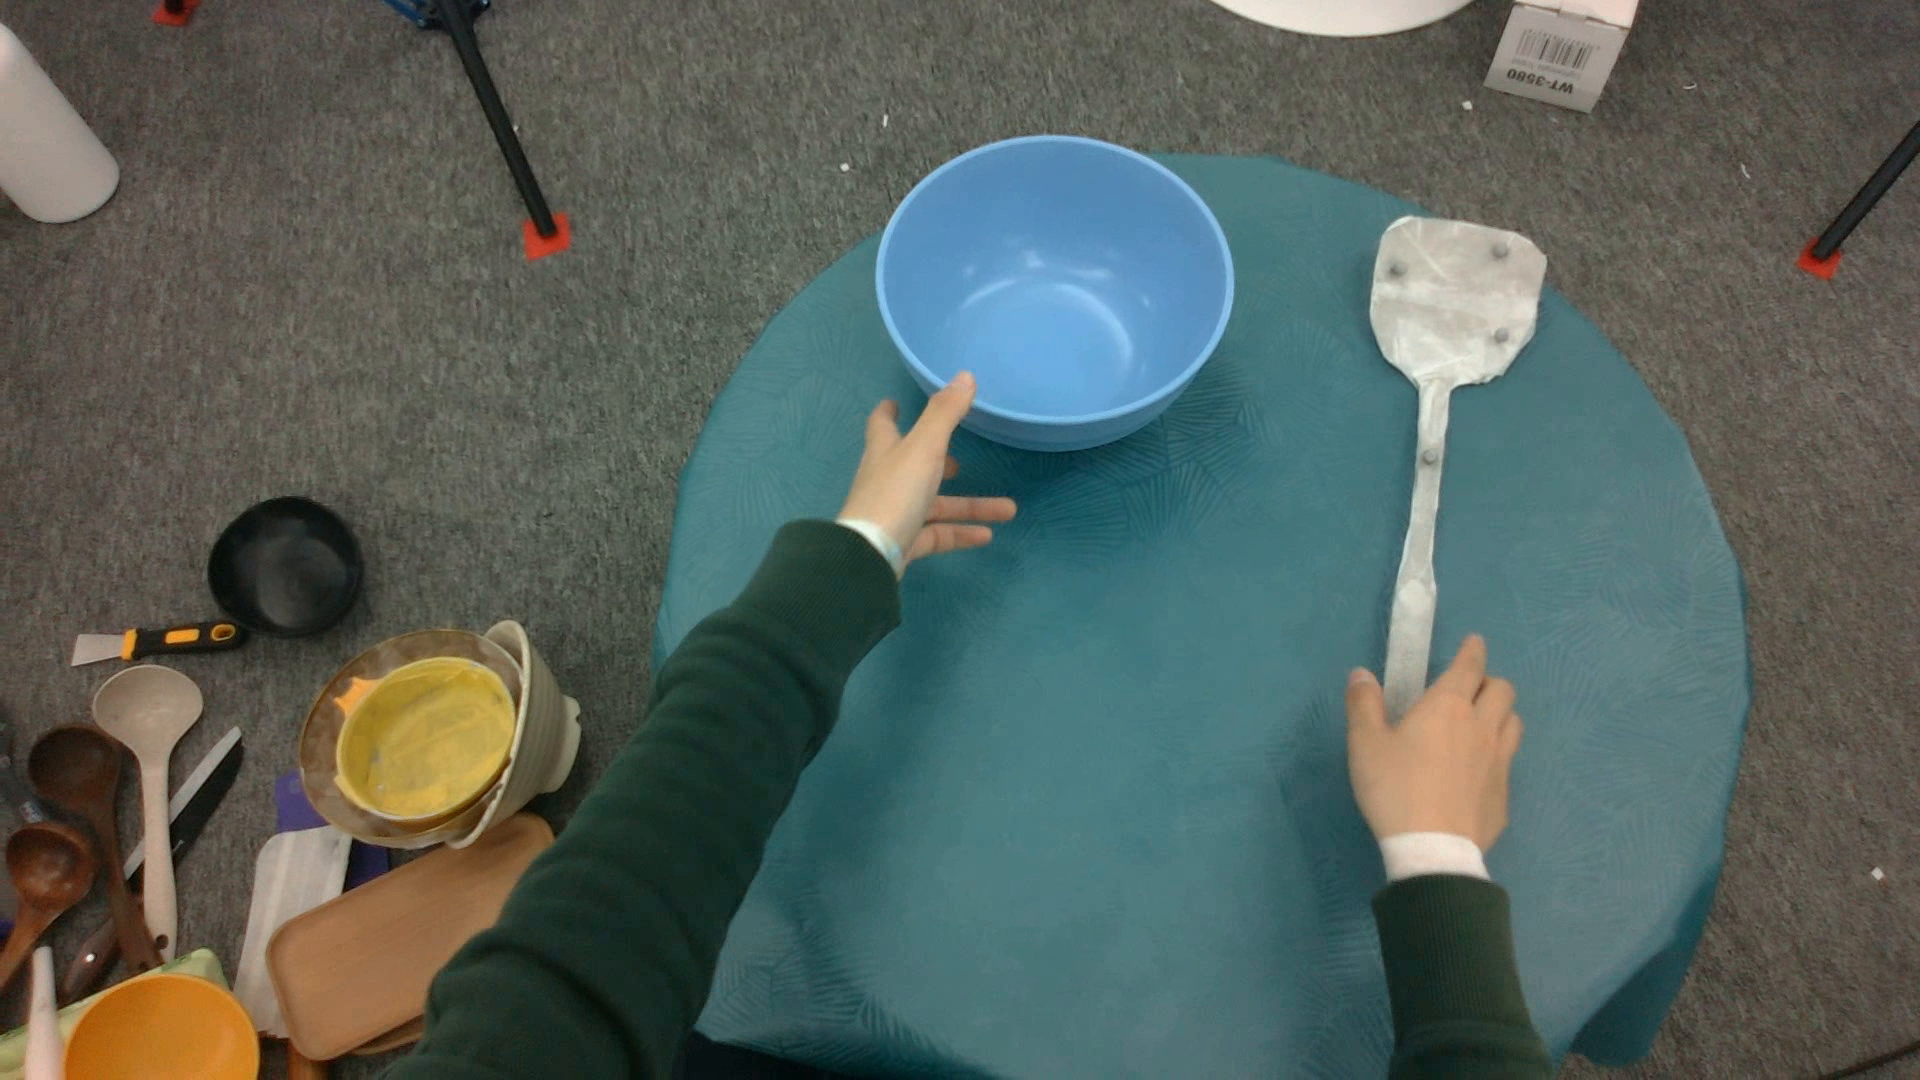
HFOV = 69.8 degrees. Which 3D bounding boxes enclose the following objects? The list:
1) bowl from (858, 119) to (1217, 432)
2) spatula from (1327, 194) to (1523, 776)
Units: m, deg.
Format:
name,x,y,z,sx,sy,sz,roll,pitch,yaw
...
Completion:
name,x,y,z,sx,sy,sz,roll,pitch,yaw
bowl,0.042,-0.136,0.791,0.196,0.095,0.197,0,61,0
spatula,0.250,-0.041,0.775,0.098,0.044,0.366,14,64,5
